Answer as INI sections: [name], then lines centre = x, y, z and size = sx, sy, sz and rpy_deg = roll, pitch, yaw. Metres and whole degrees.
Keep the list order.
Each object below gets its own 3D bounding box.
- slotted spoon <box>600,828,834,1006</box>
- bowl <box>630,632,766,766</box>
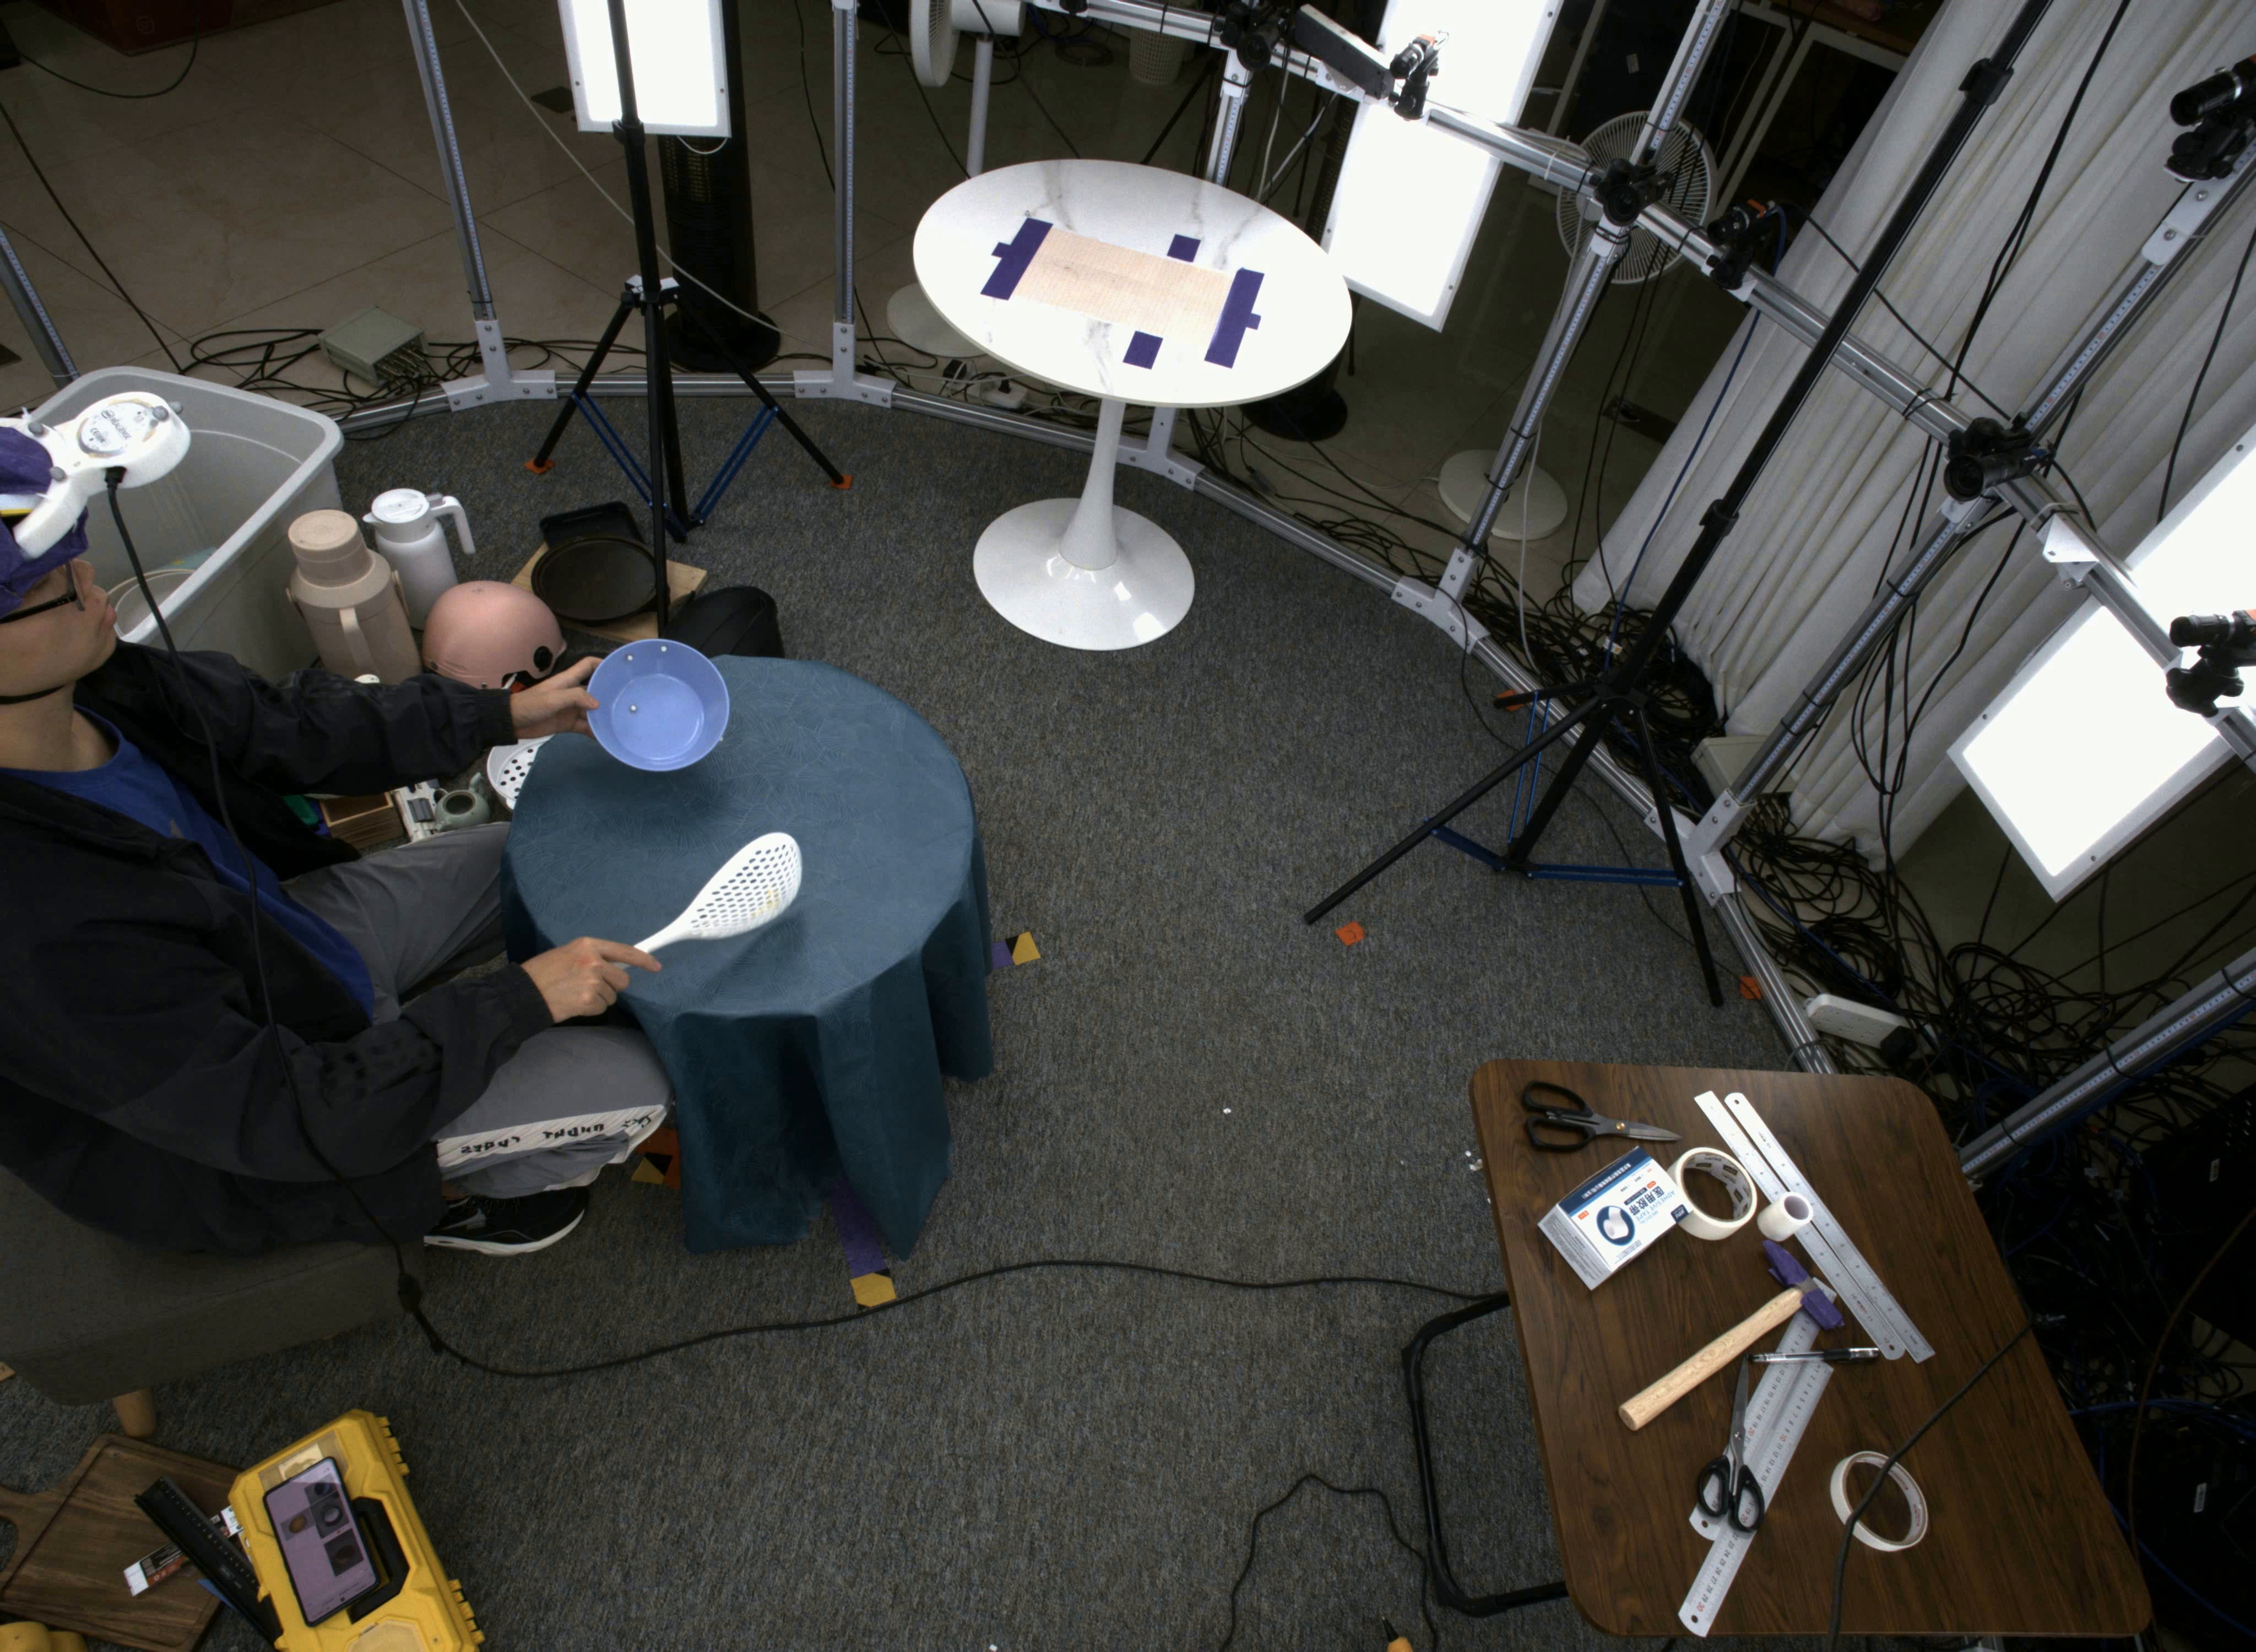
[slotted spoon]
centre = -0.477, 0.117, 1.518
size = 0.049, 0.140, 0.350
rpy_deg = 37, 46, 28
[bowl]
centre = -0.564, -0.159, 1.683
size = 0.177, 0.069, 0.176
rpy_deg = 4, 80, -20
